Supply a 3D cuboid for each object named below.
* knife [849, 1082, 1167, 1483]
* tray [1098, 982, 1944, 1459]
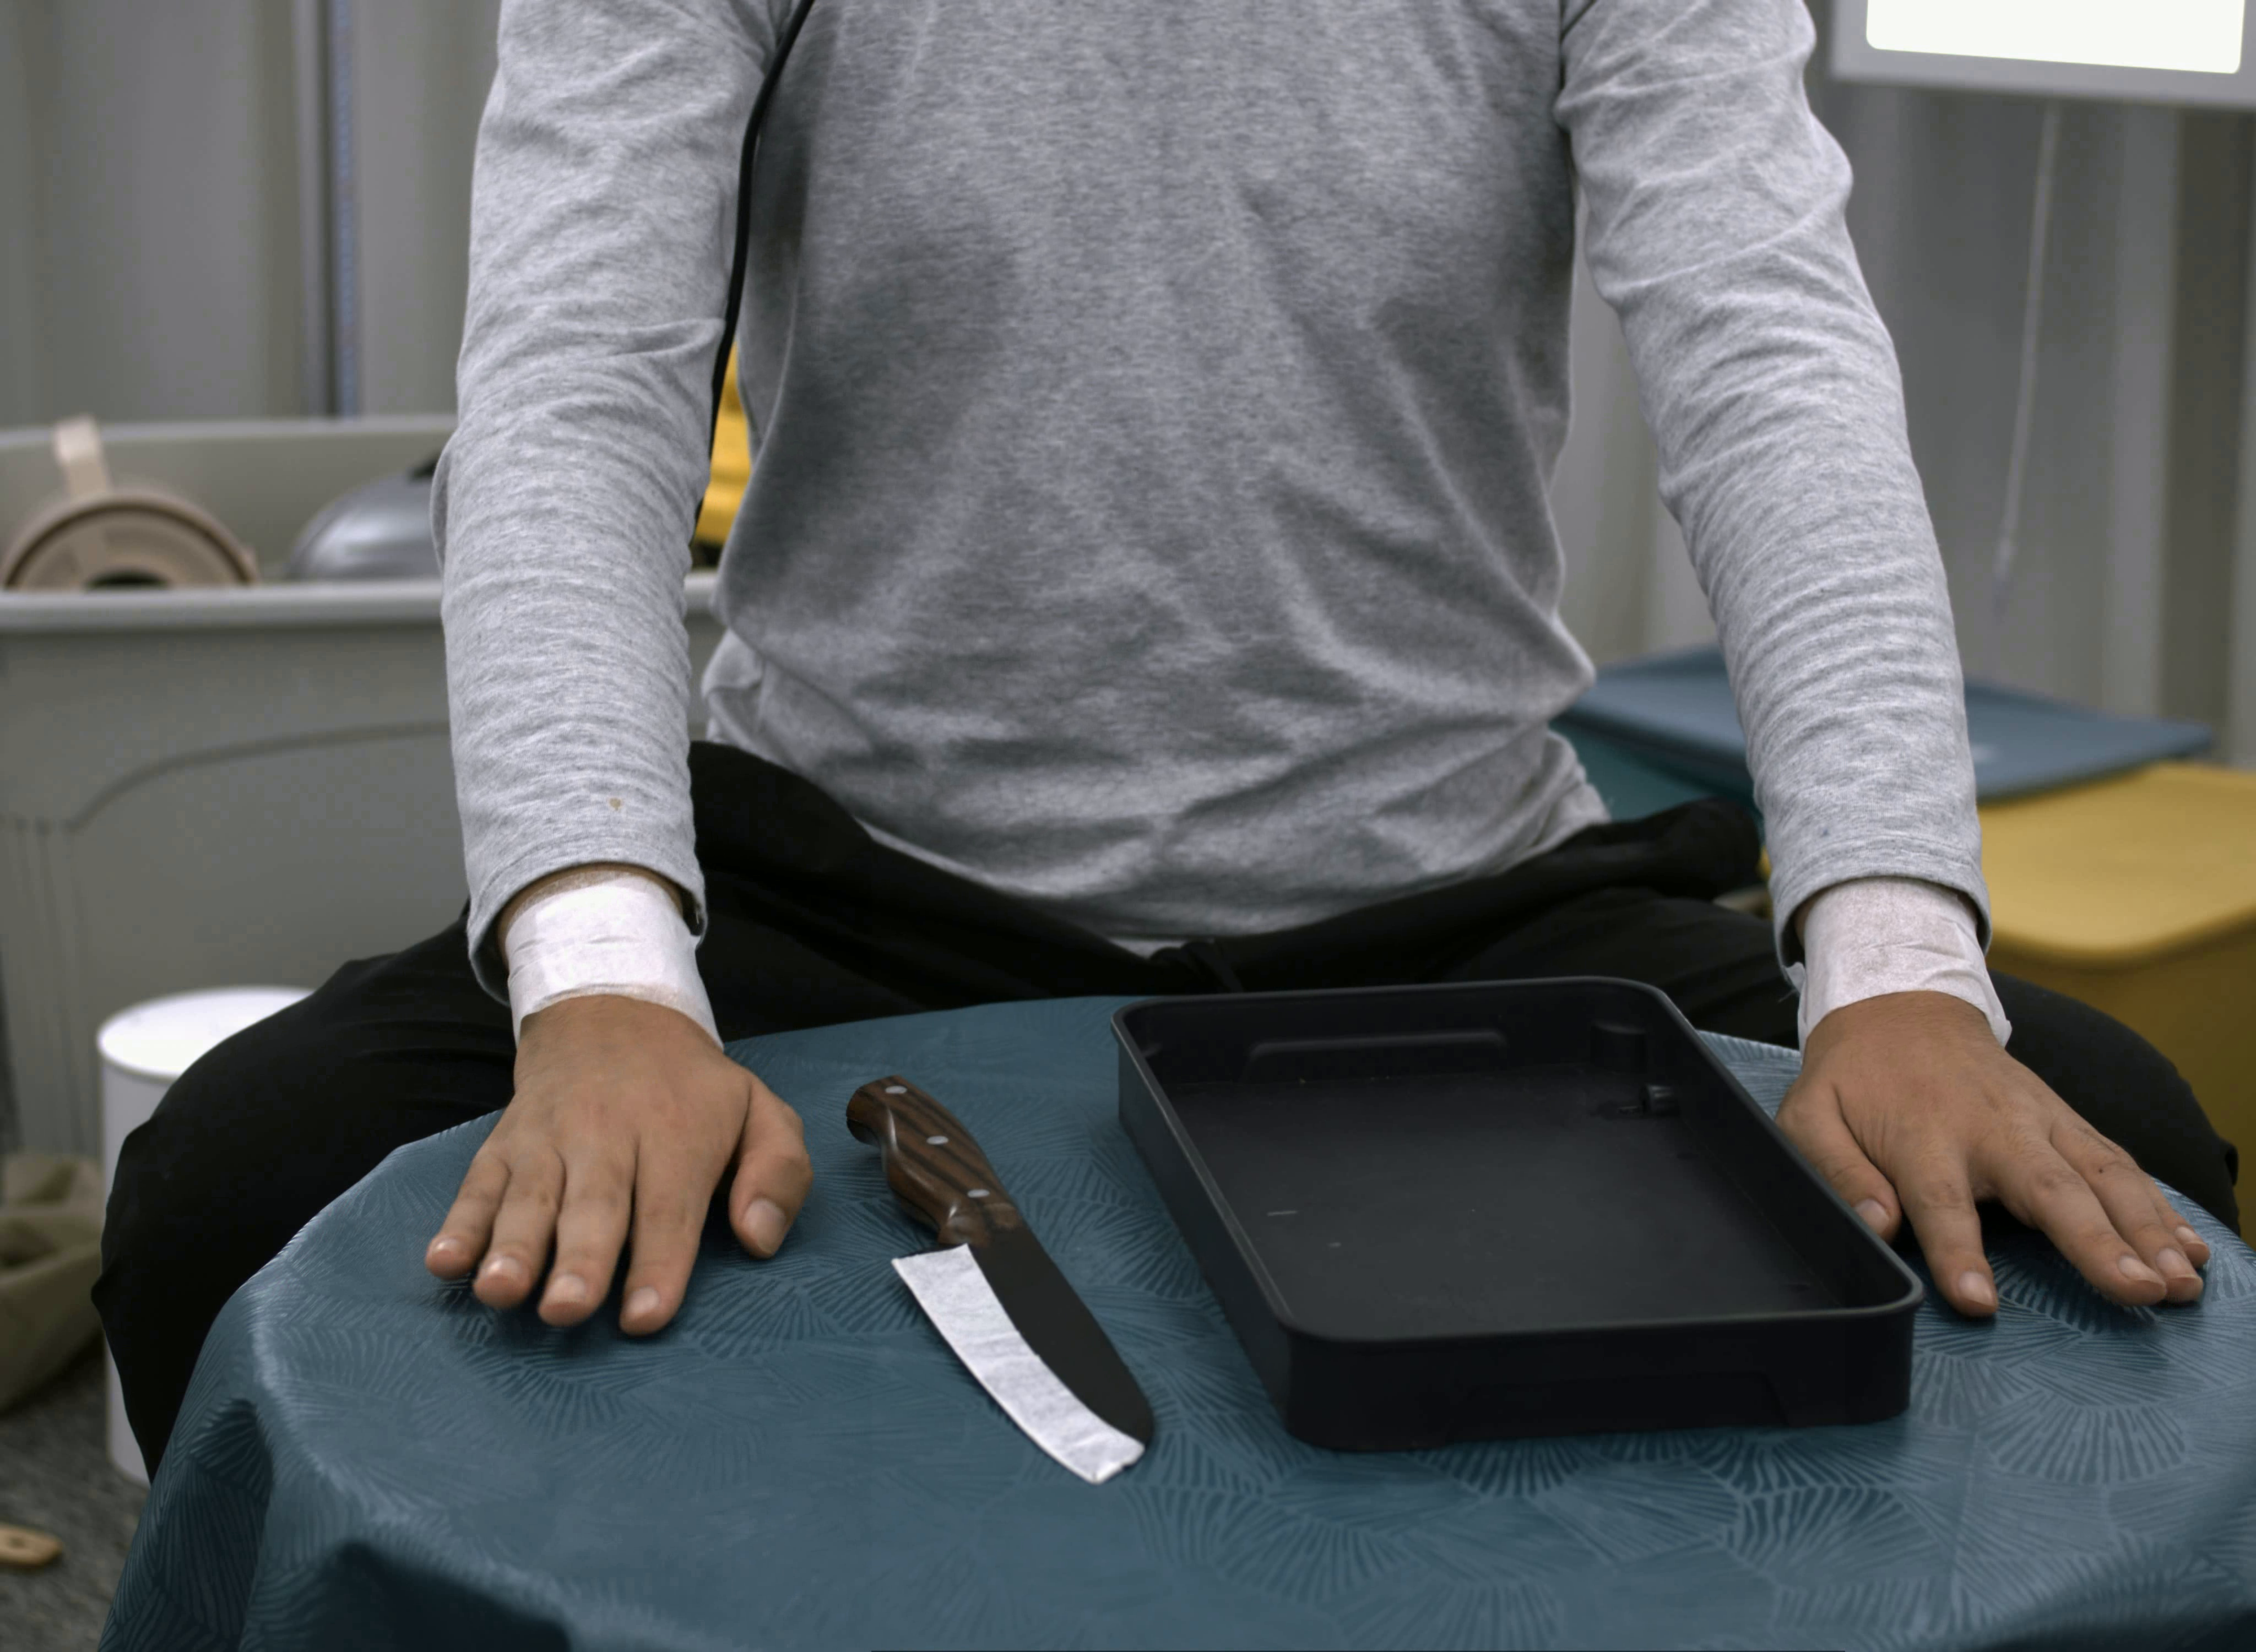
[{"bbox_3d":[-0.040,0.131,1.529,0.050,0.020,0.286,-9,19,-13],"label":"knife"},{"bbox_3d":[0.107,0.111,1.568,0.184,0.037,0.315,-3,15,-12],"label":"tray"}]
